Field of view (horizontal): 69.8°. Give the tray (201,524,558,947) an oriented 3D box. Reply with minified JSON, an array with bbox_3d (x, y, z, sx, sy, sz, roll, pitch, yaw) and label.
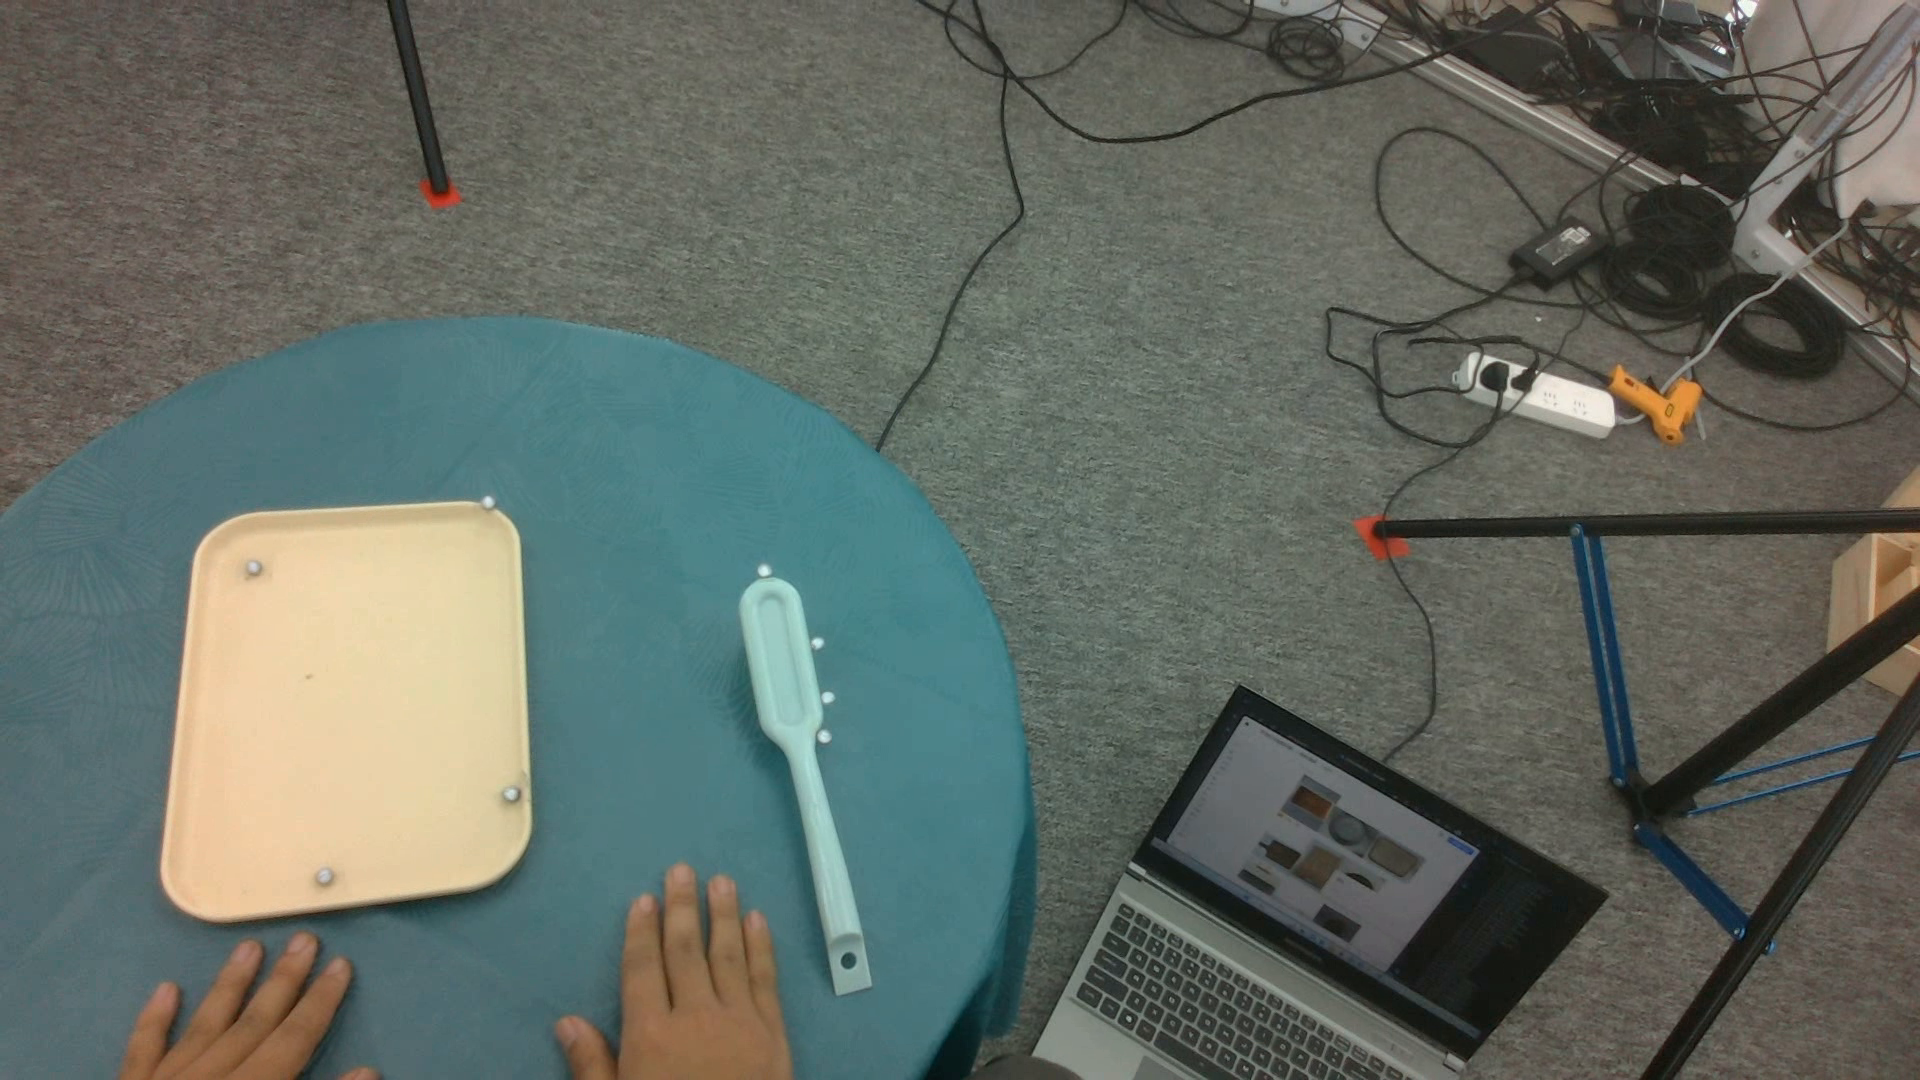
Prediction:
[{"bbox_3d":[-0.316,0.097,0.753,0.171,0.017,0.240,-7,56,-15],"label":"tray"}]

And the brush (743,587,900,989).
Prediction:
[{"bbox_3d":[-0.076,0.135,0.766,0.038,0.049,0.229,-15,67,-14],"label":"brush"}]
